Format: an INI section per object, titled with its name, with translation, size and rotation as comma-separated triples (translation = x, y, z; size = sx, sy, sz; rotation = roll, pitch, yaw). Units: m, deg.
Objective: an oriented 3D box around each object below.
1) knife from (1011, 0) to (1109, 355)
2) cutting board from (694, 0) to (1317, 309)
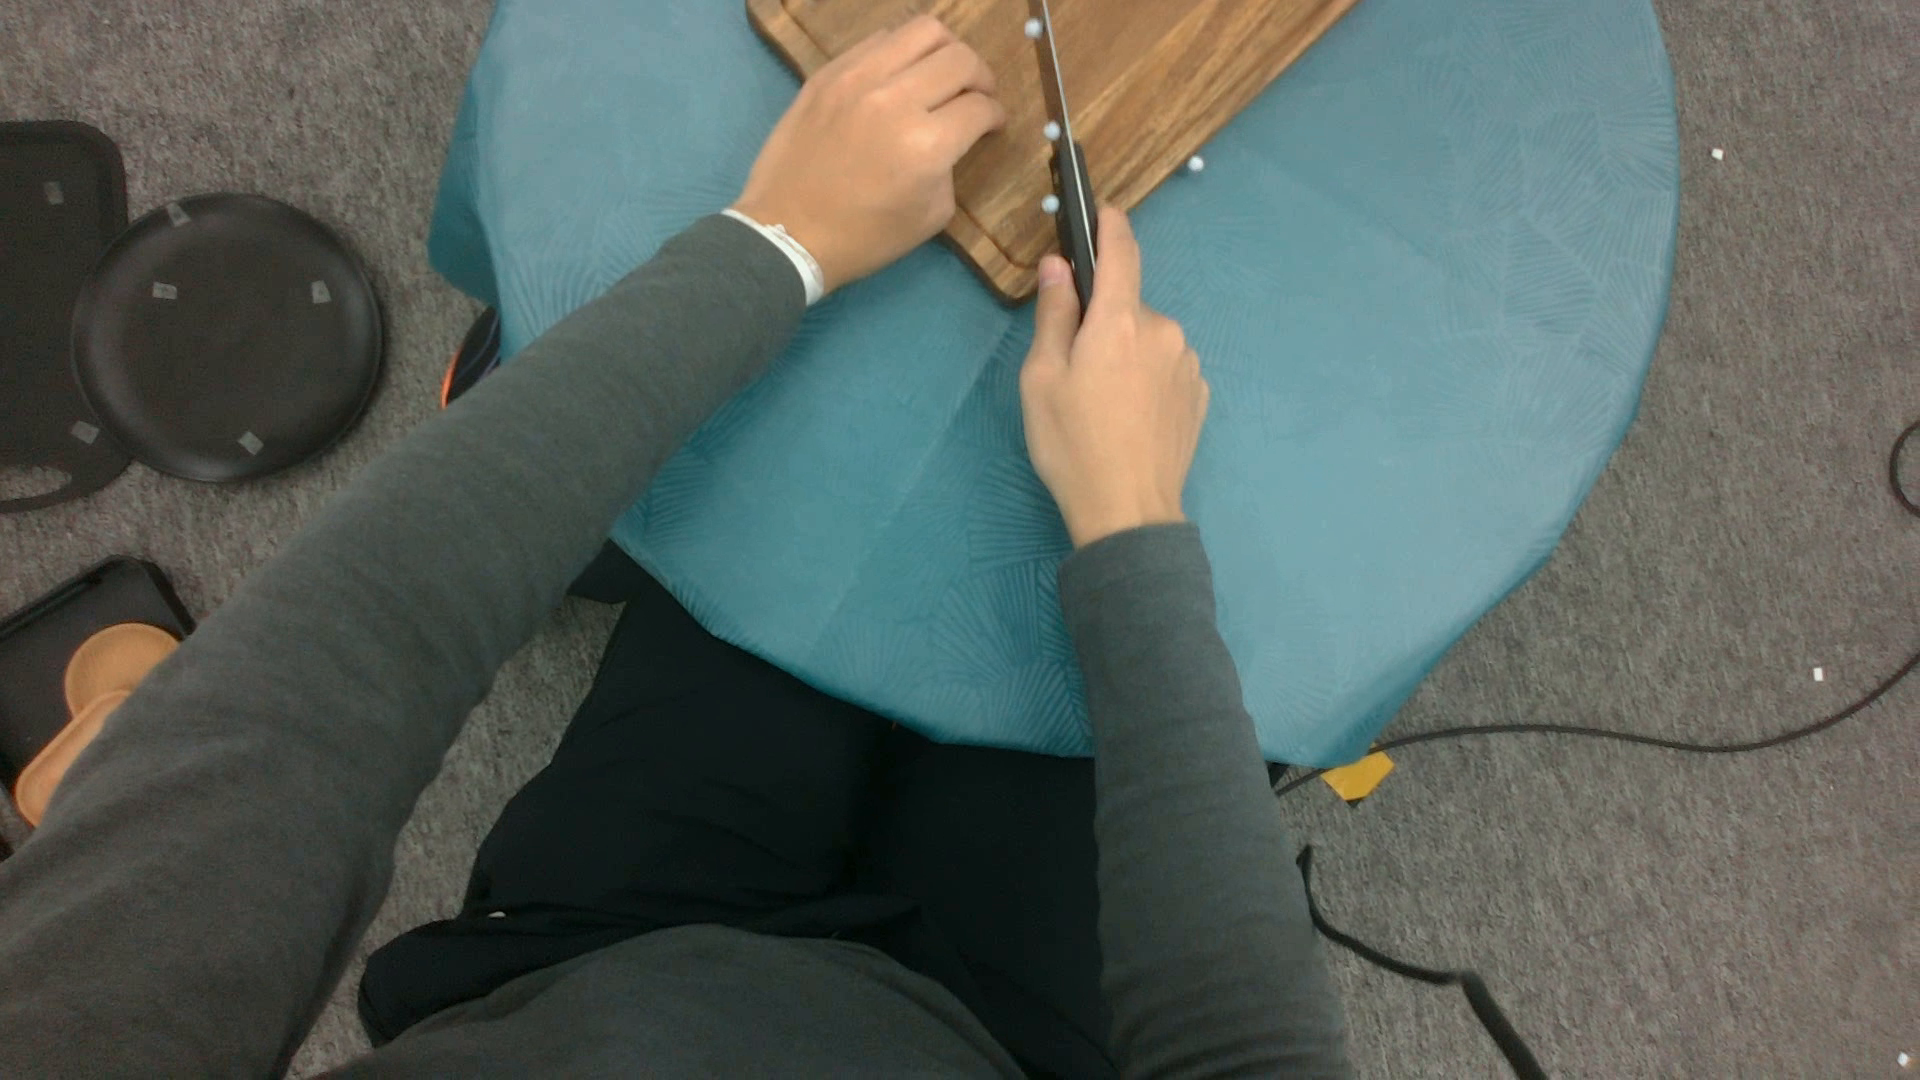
[knife]
translation = 0.038, -0.201, 0.629
size = 0.016, 0.024, 0.238
rotation = -10, 86, -16
[cutting board]
translation = 0.006, -0.238, 0.662
size = 0.352, 0.023, 0.201
rotation = -44, 93, -6
